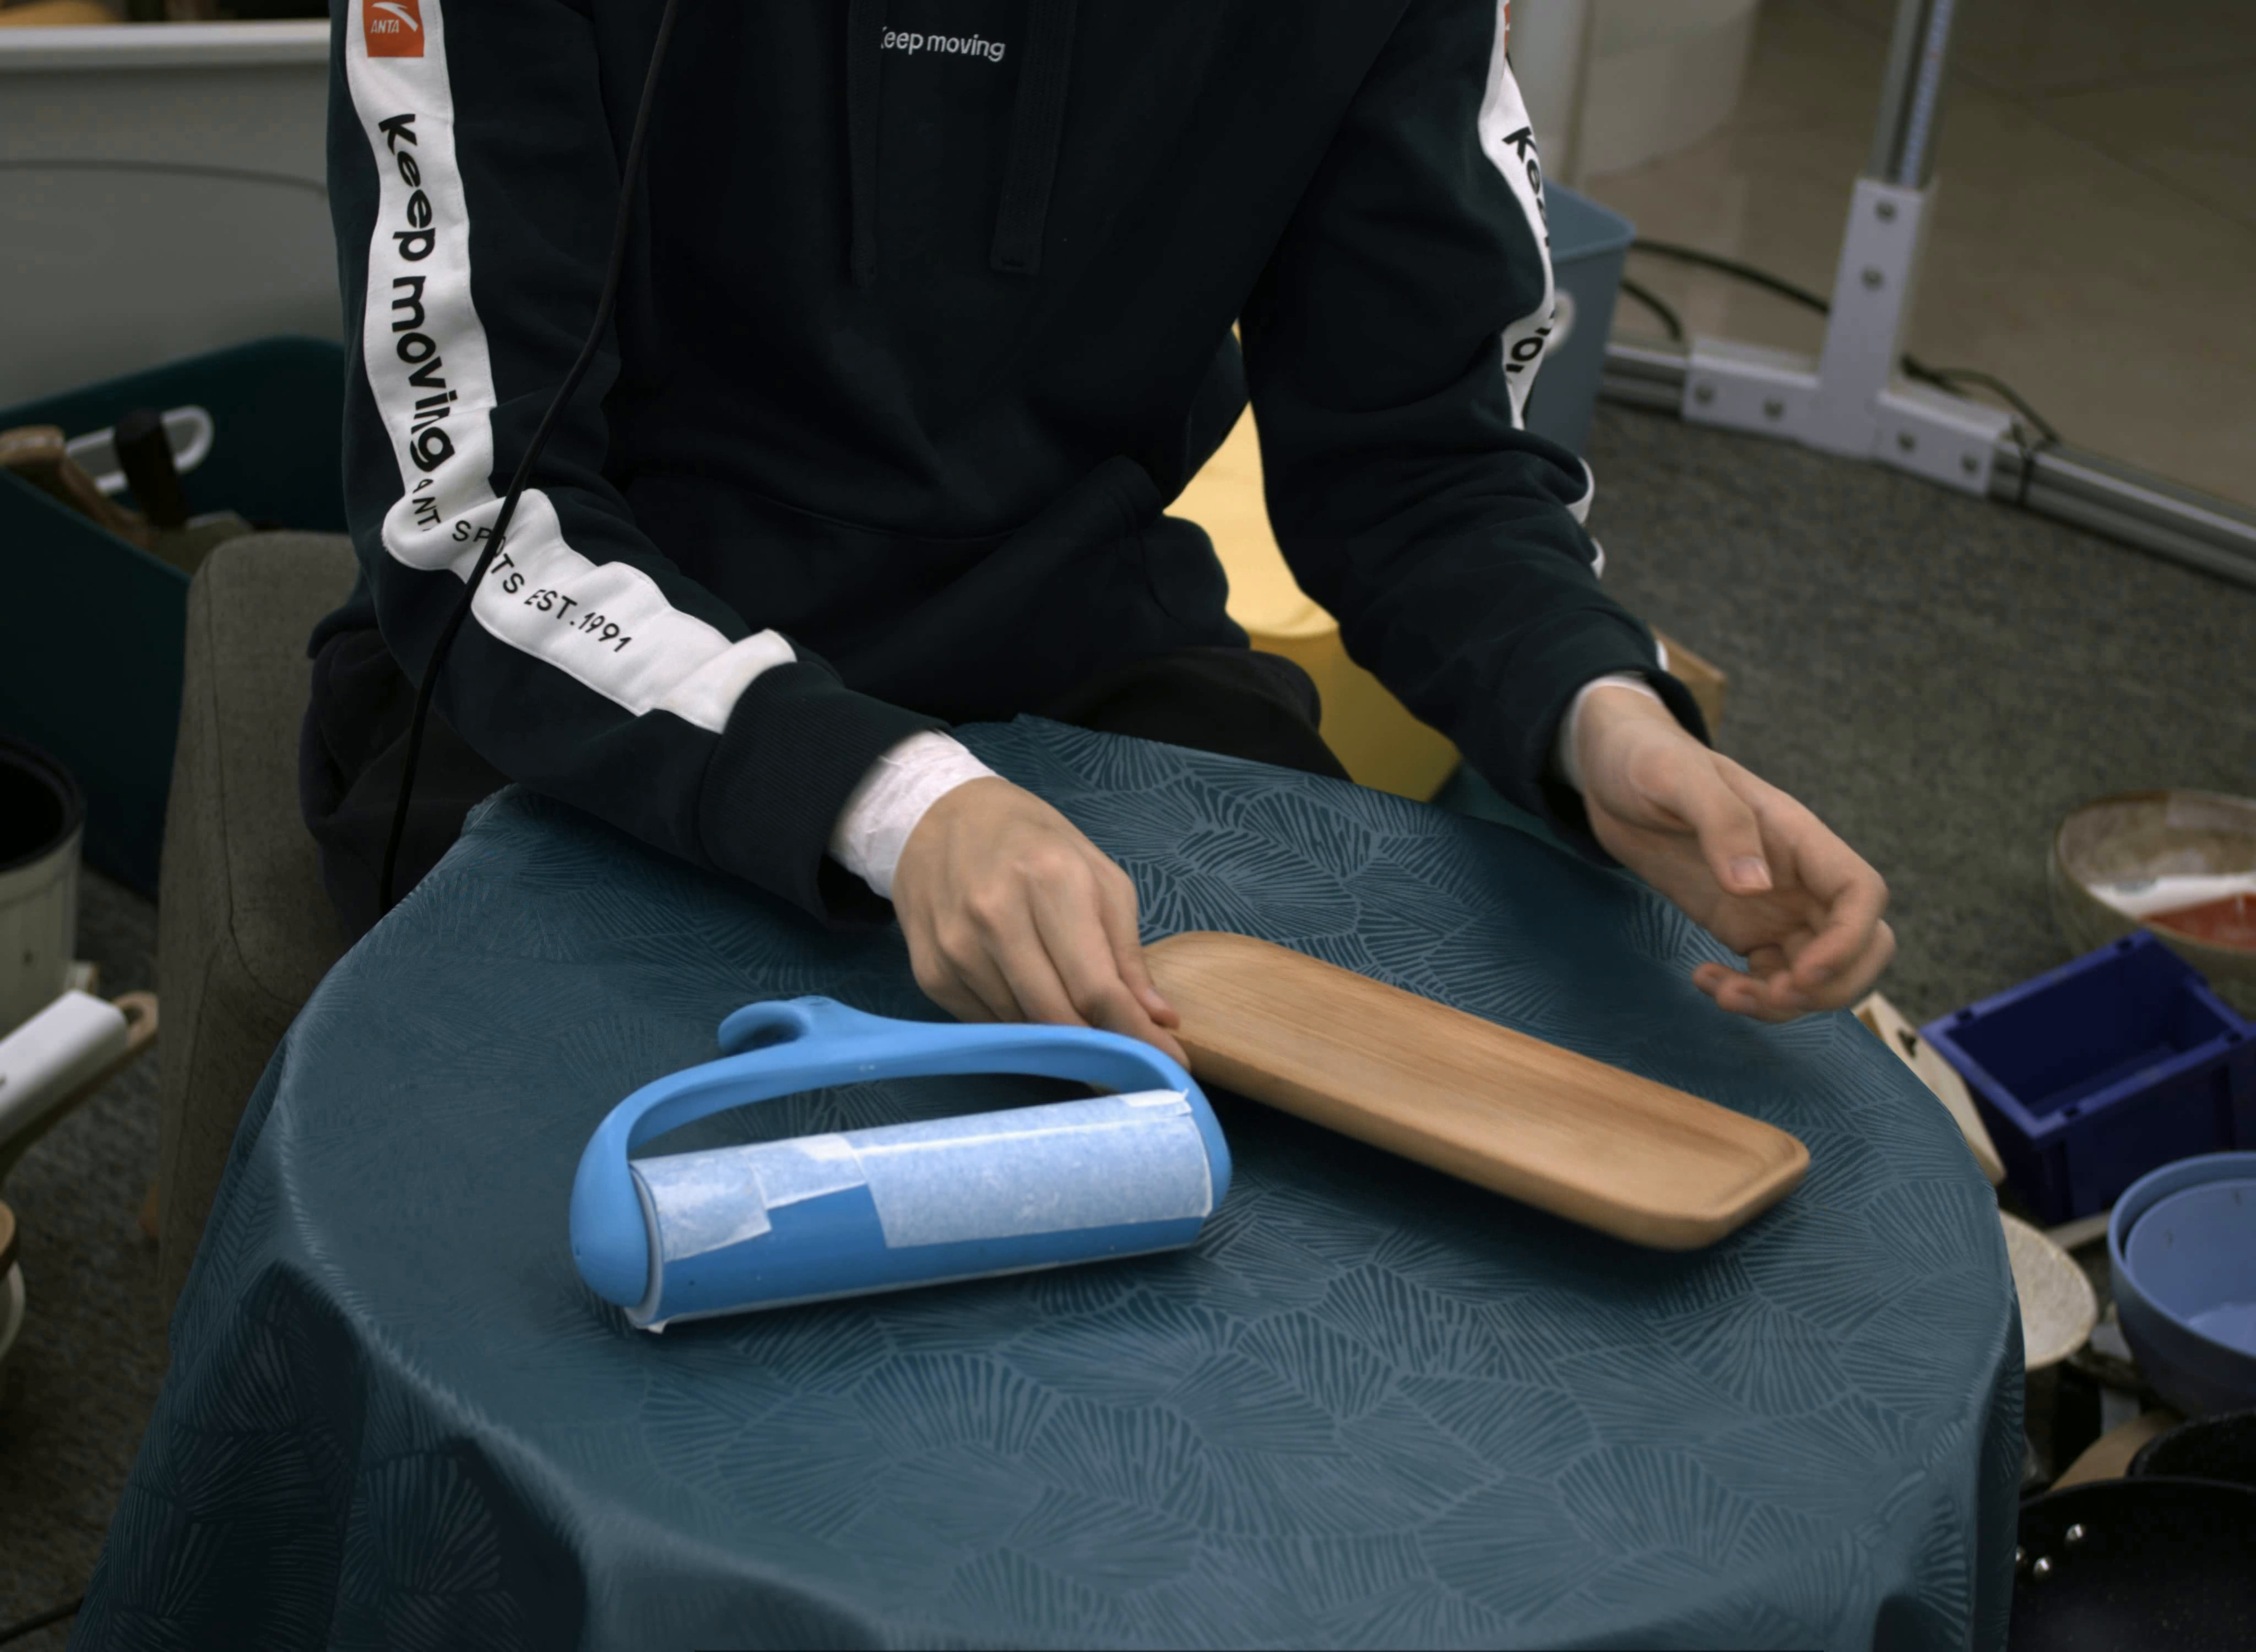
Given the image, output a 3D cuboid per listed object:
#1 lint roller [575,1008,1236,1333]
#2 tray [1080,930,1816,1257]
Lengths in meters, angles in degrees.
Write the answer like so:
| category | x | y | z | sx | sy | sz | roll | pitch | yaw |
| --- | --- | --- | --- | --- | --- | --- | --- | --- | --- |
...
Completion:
| category | x | y | z | sx | sy | sz | roll | pitch | yaw |
| --- | --- | --- | --- | --- | --- | --- | --- | --- | --- |
| lint roller | -0.096 | 0.096 | 1.769 | 0.227 | 0.067 | 0.182 | -9 | 31 | -25 |
| tray | 0.109 | 0.091 | 1.846 | 0.252 | 0.023 | 0.130 | 20 | 17 | 26 |
